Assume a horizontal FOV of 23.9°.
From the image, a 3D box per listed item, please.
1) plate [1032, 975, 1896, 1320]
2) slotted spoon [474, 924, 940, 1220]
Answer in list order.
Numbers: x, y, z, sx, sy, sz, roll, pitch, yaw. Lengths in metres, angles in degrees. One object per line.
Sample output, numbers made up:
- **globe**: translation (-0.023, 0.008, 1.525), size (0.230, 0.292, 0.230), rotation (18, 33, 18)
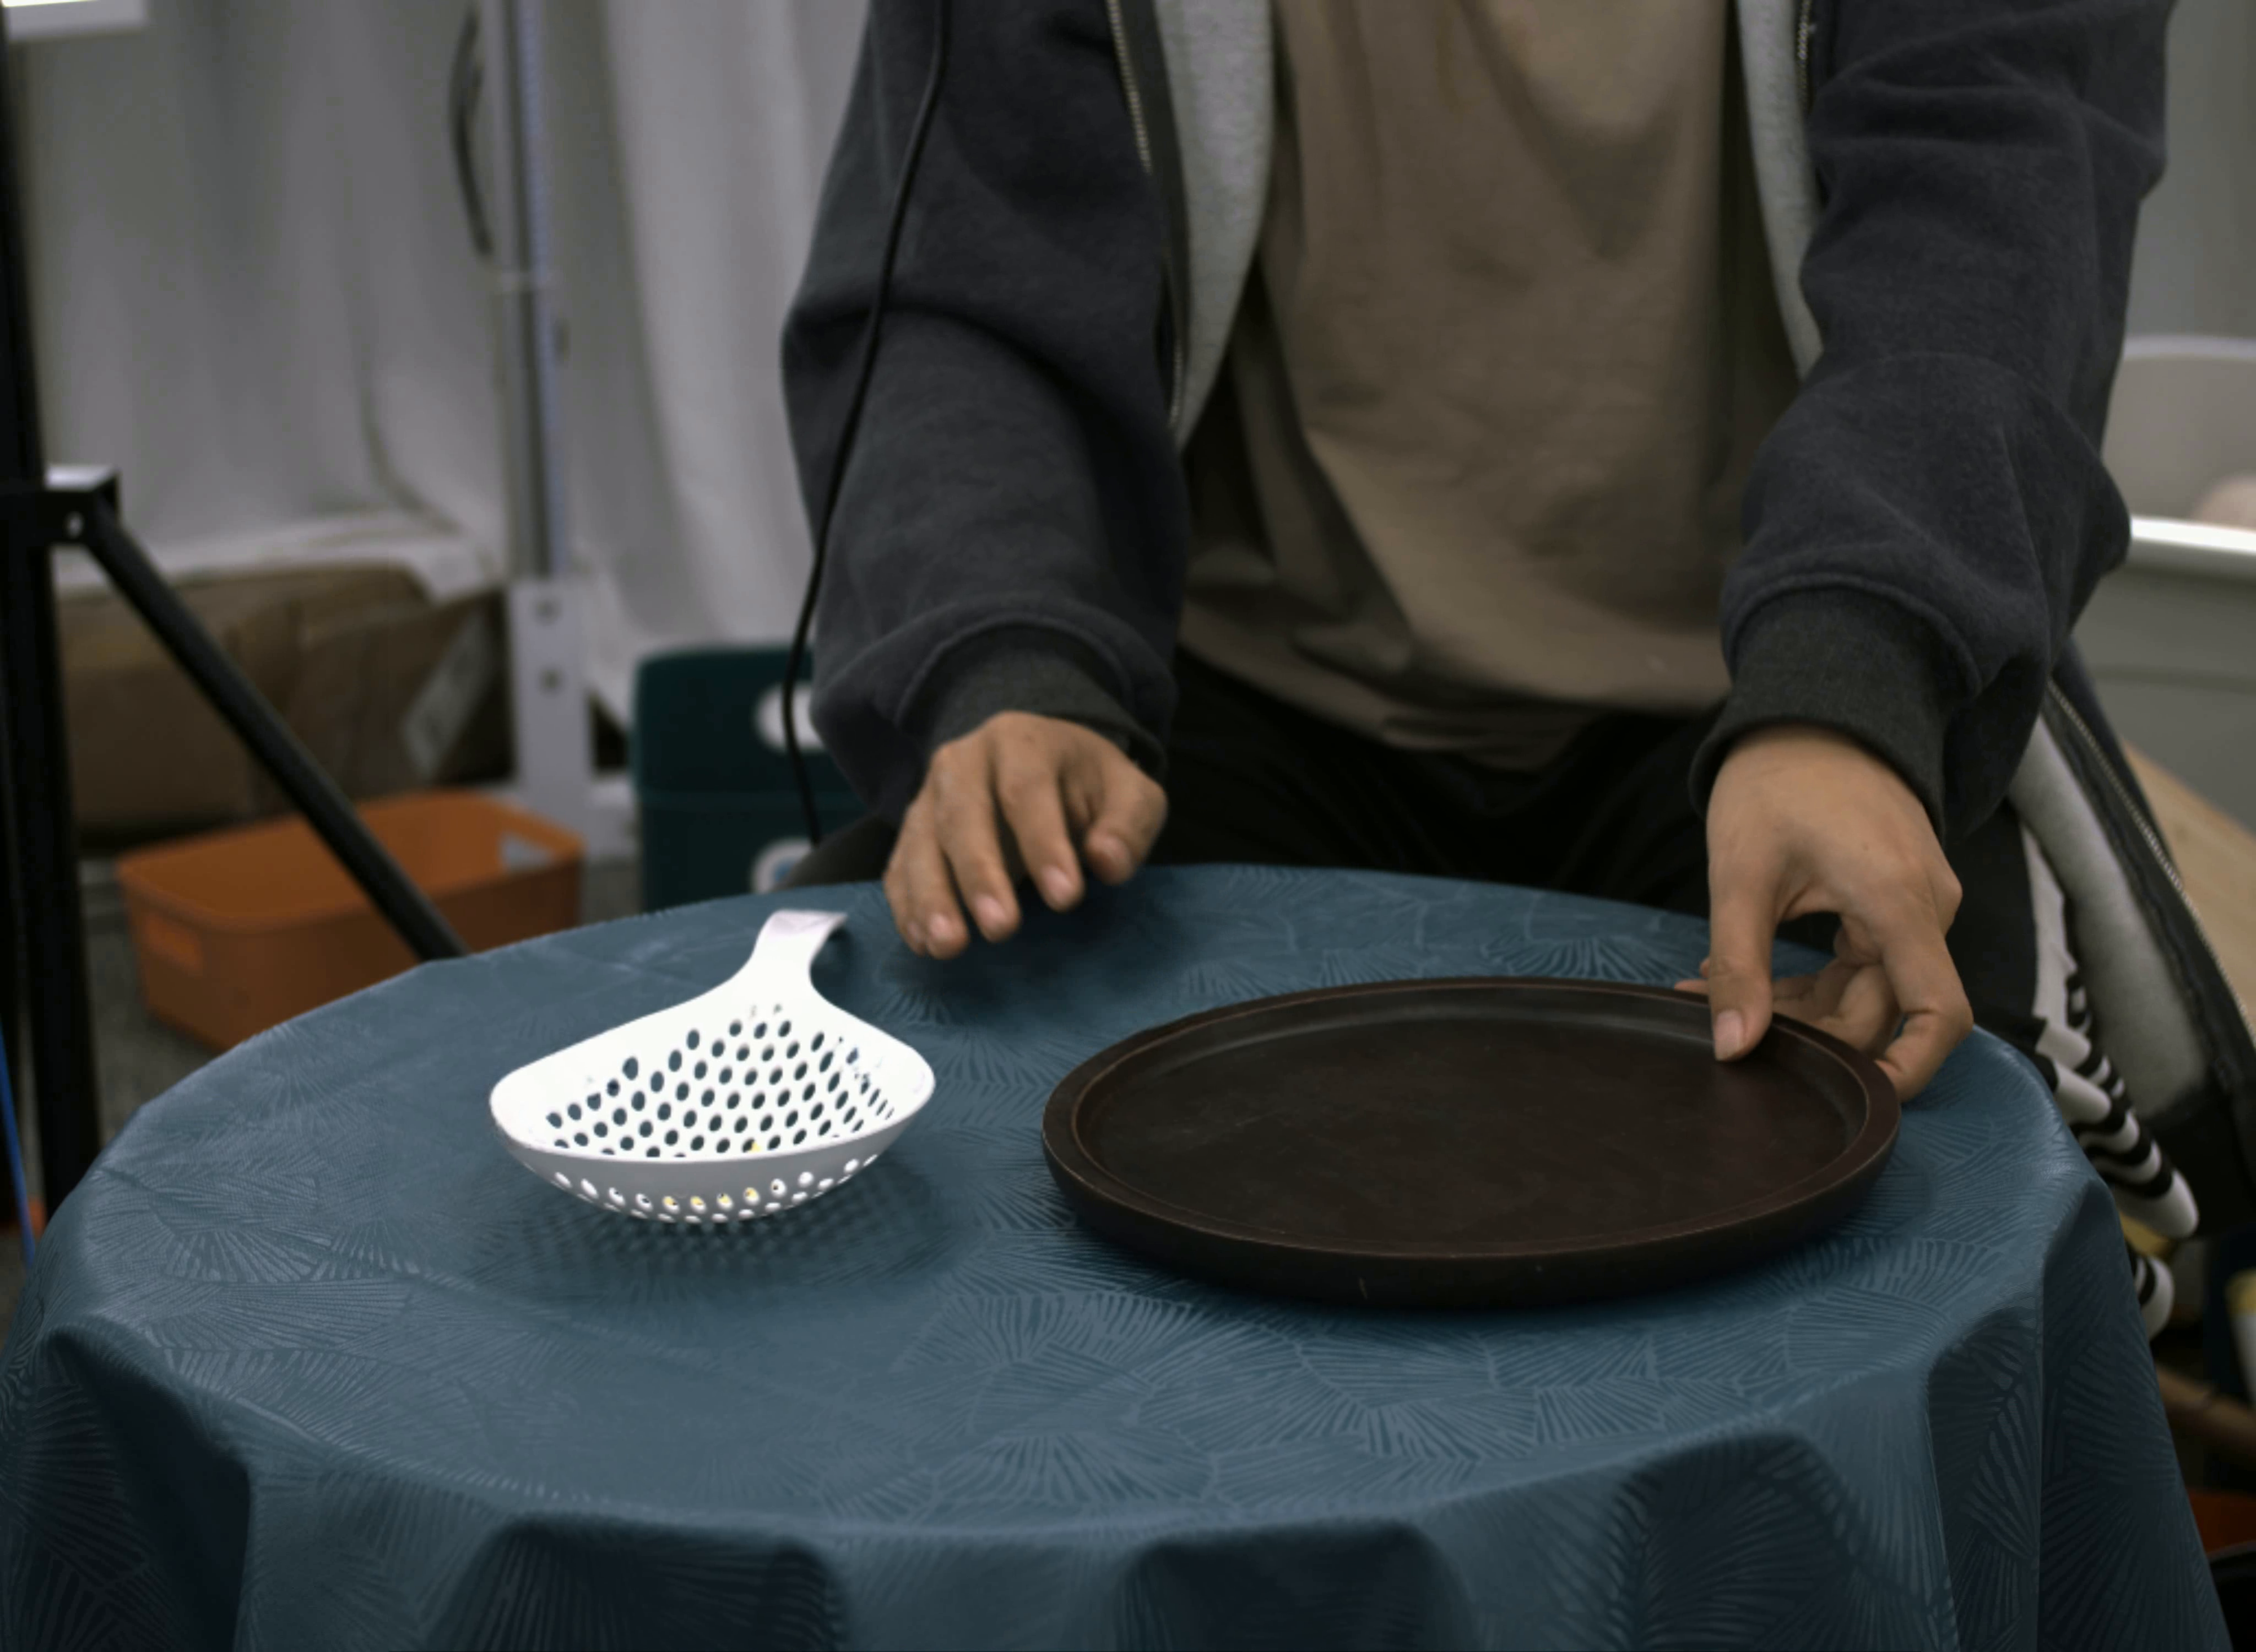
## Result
- **plate**: translation (0.099, 0.092, 1.558), size (0.253, 0.029, 0.256), rotation (-4, 15, 0)
- **slotted spoon**: translation (-0.115, 0.063, 1.664), size (0.137, 0.050, 0.348), rotation (-4, 16, 4)
